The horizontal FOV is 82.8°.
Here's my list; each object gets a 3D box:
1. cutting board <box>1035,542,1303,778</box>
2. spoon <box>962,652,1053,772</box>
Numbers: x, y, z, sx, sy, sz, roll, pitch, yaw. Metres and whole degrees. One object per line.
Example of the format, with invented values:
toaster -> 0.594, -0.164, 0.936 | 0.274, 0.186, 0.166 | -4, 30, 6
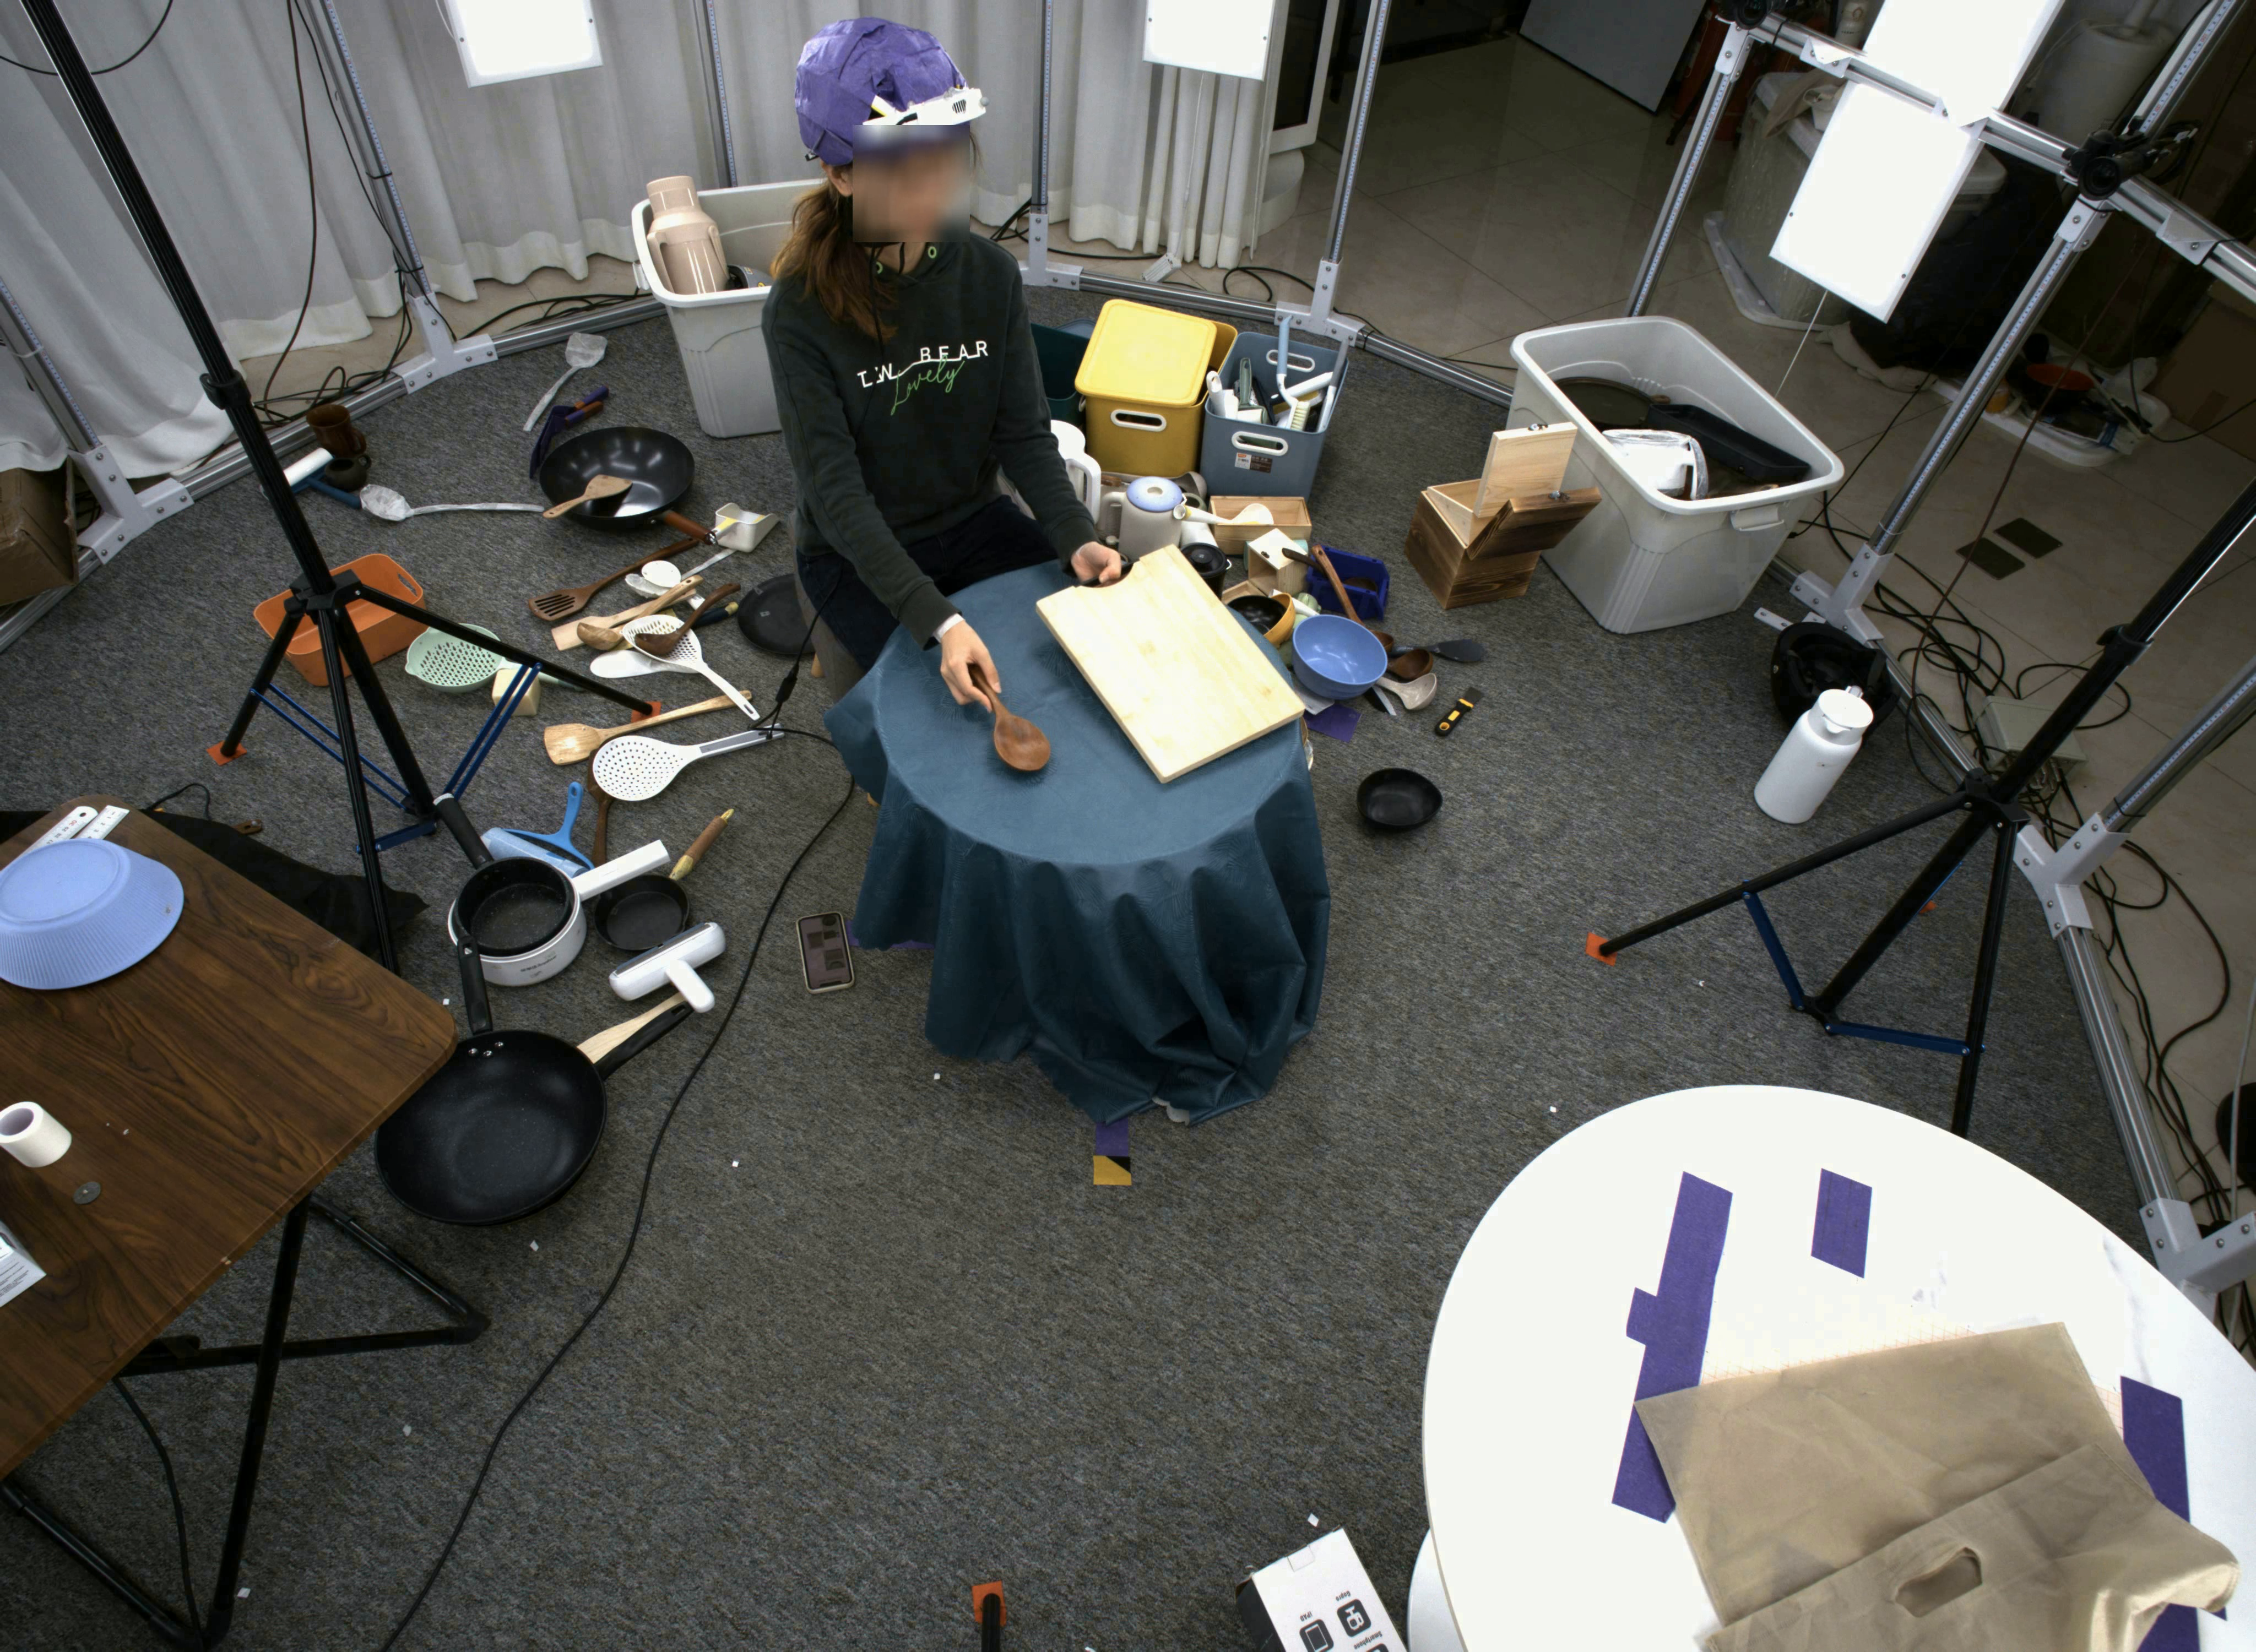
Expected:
cutting board -> 0.055, -0.245, 1.844 | 0.252, 0.023, 0.355 | -27, 64, -21
spoon -> -0.172, -0.157, 1.766 | 0.075, 0.017, 0.220 | -20, 63, -24
